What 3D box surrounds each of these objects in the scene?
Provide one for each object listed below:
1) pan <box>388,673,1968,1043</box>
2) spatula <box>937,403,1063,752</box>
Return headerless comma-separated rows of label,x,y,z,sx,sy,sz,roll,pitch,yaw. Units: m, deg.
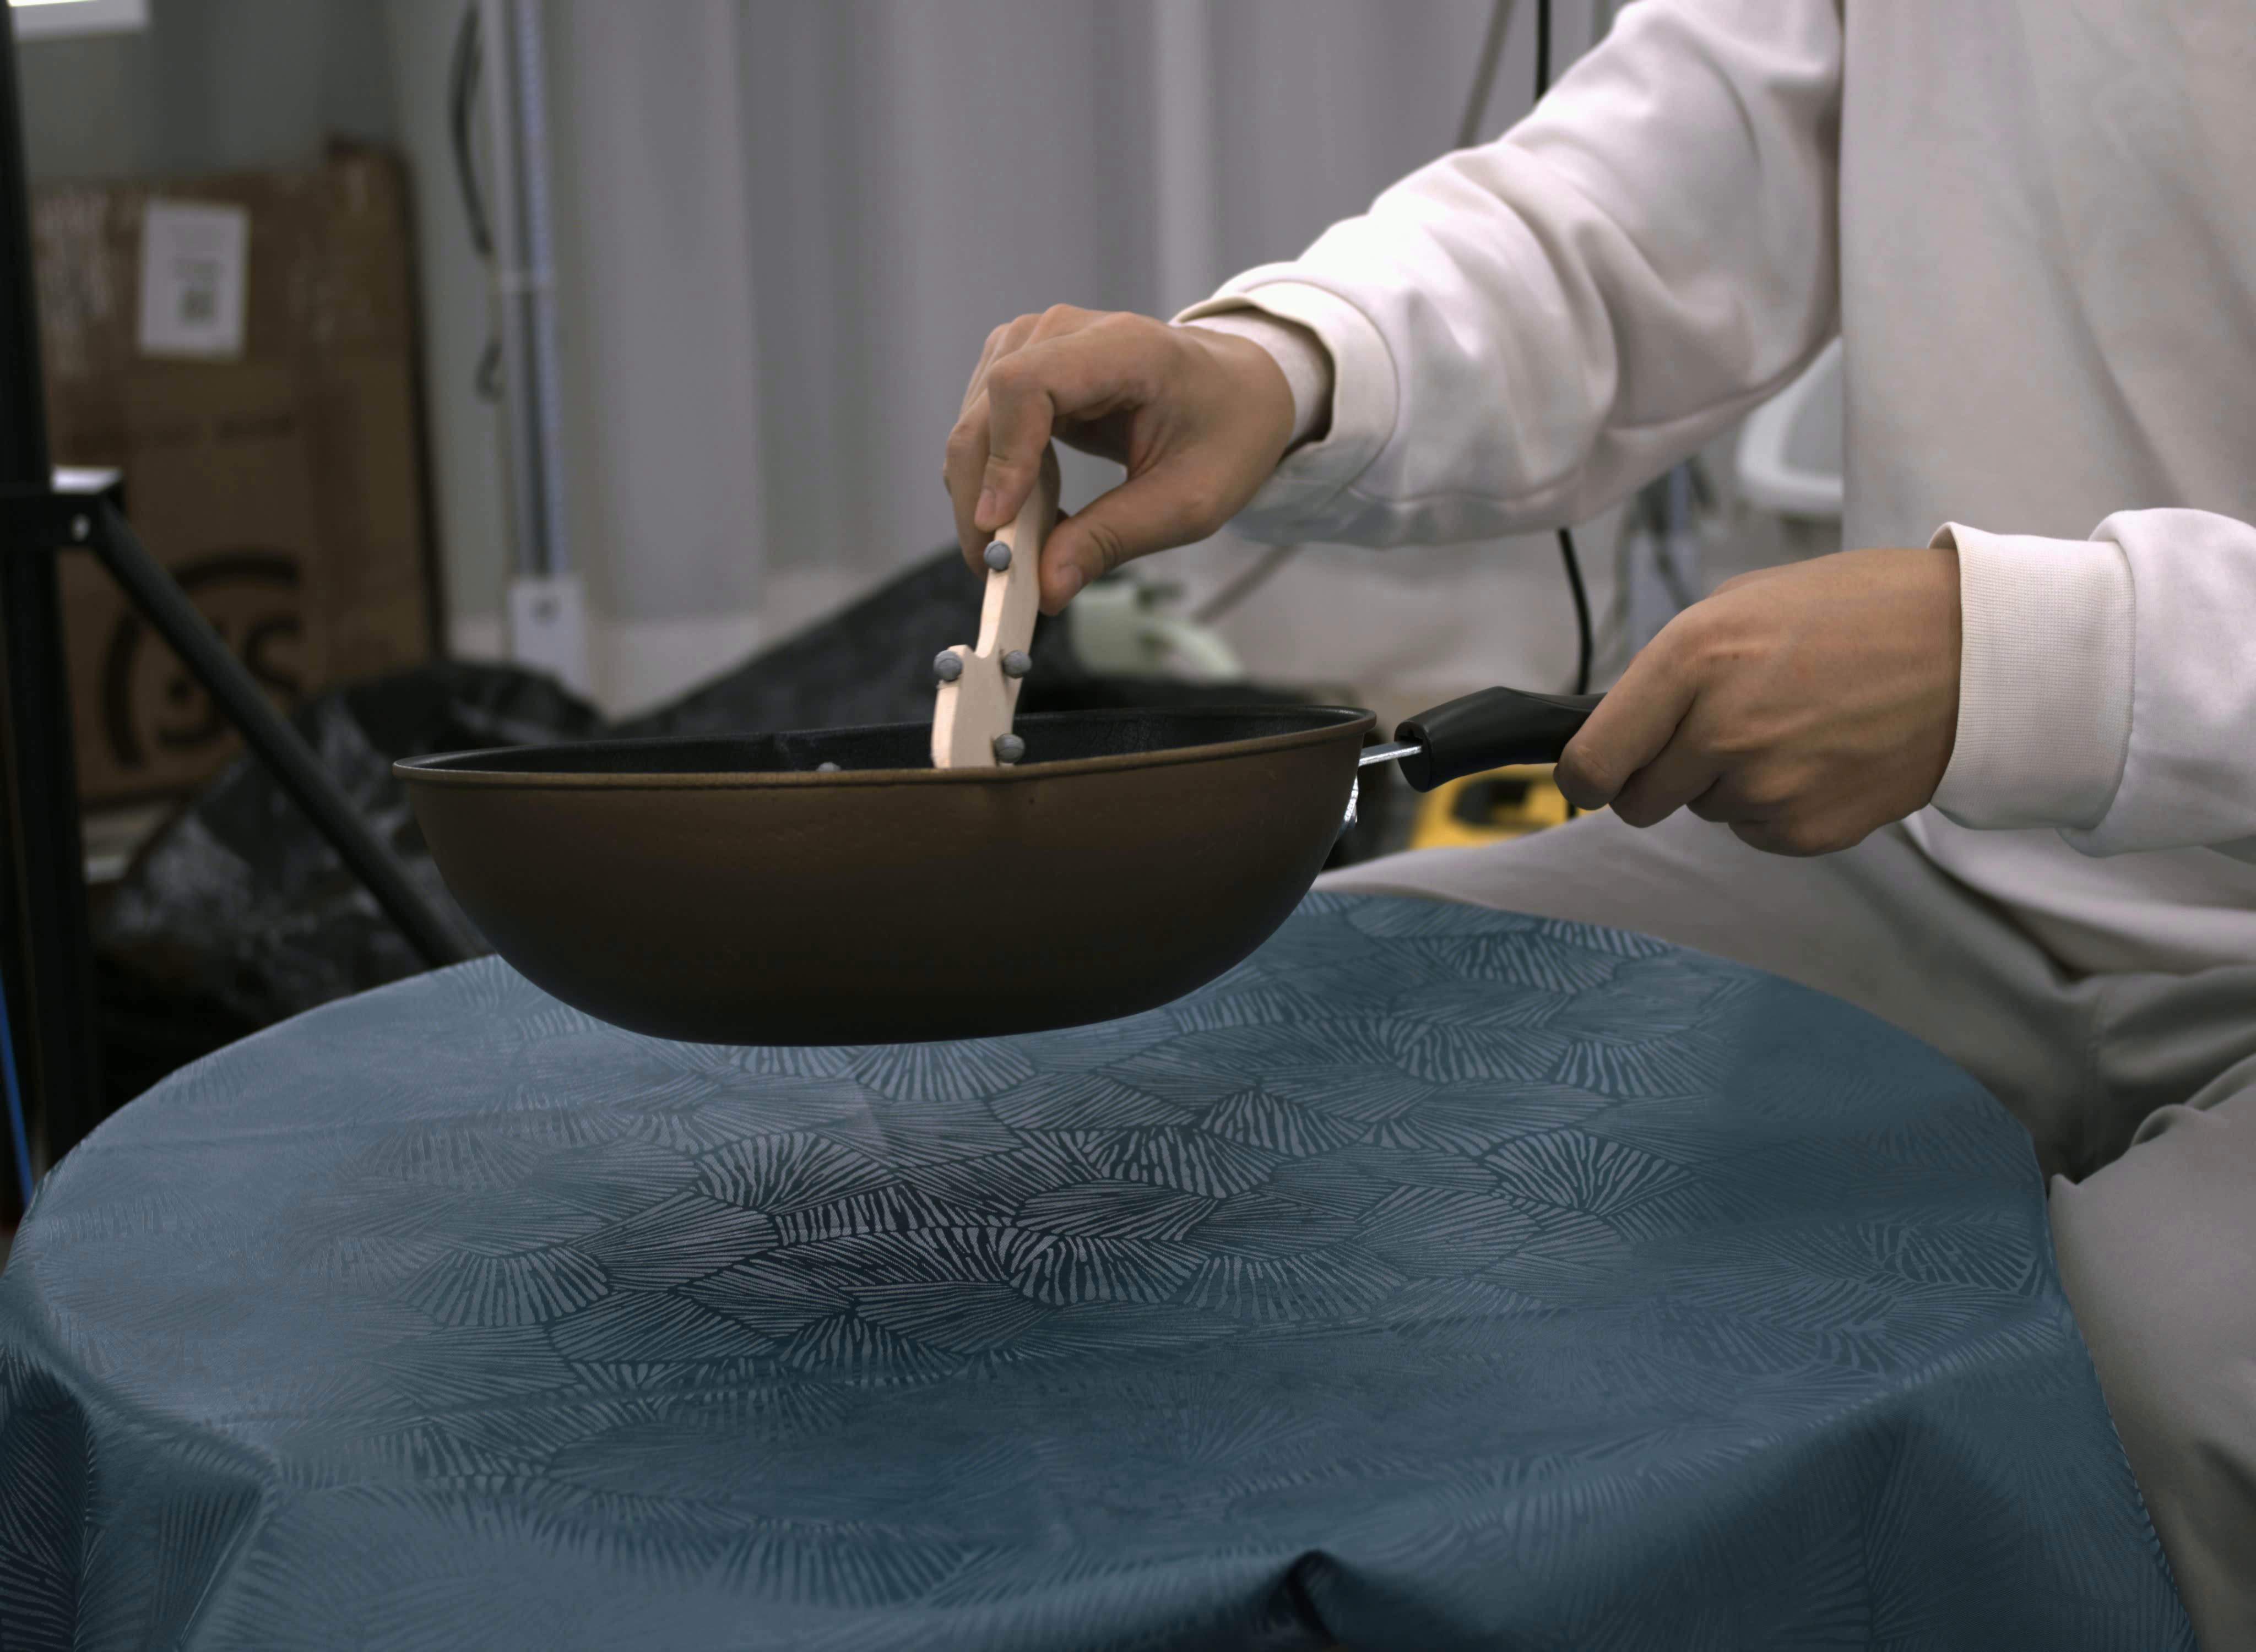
pan,0.020,0.008,1.523,0.456,0.087,0.291,-3,3,-13
spatula,-0.036,-0.056,1.595,0.011,0.071,0.294,-12,28,10
